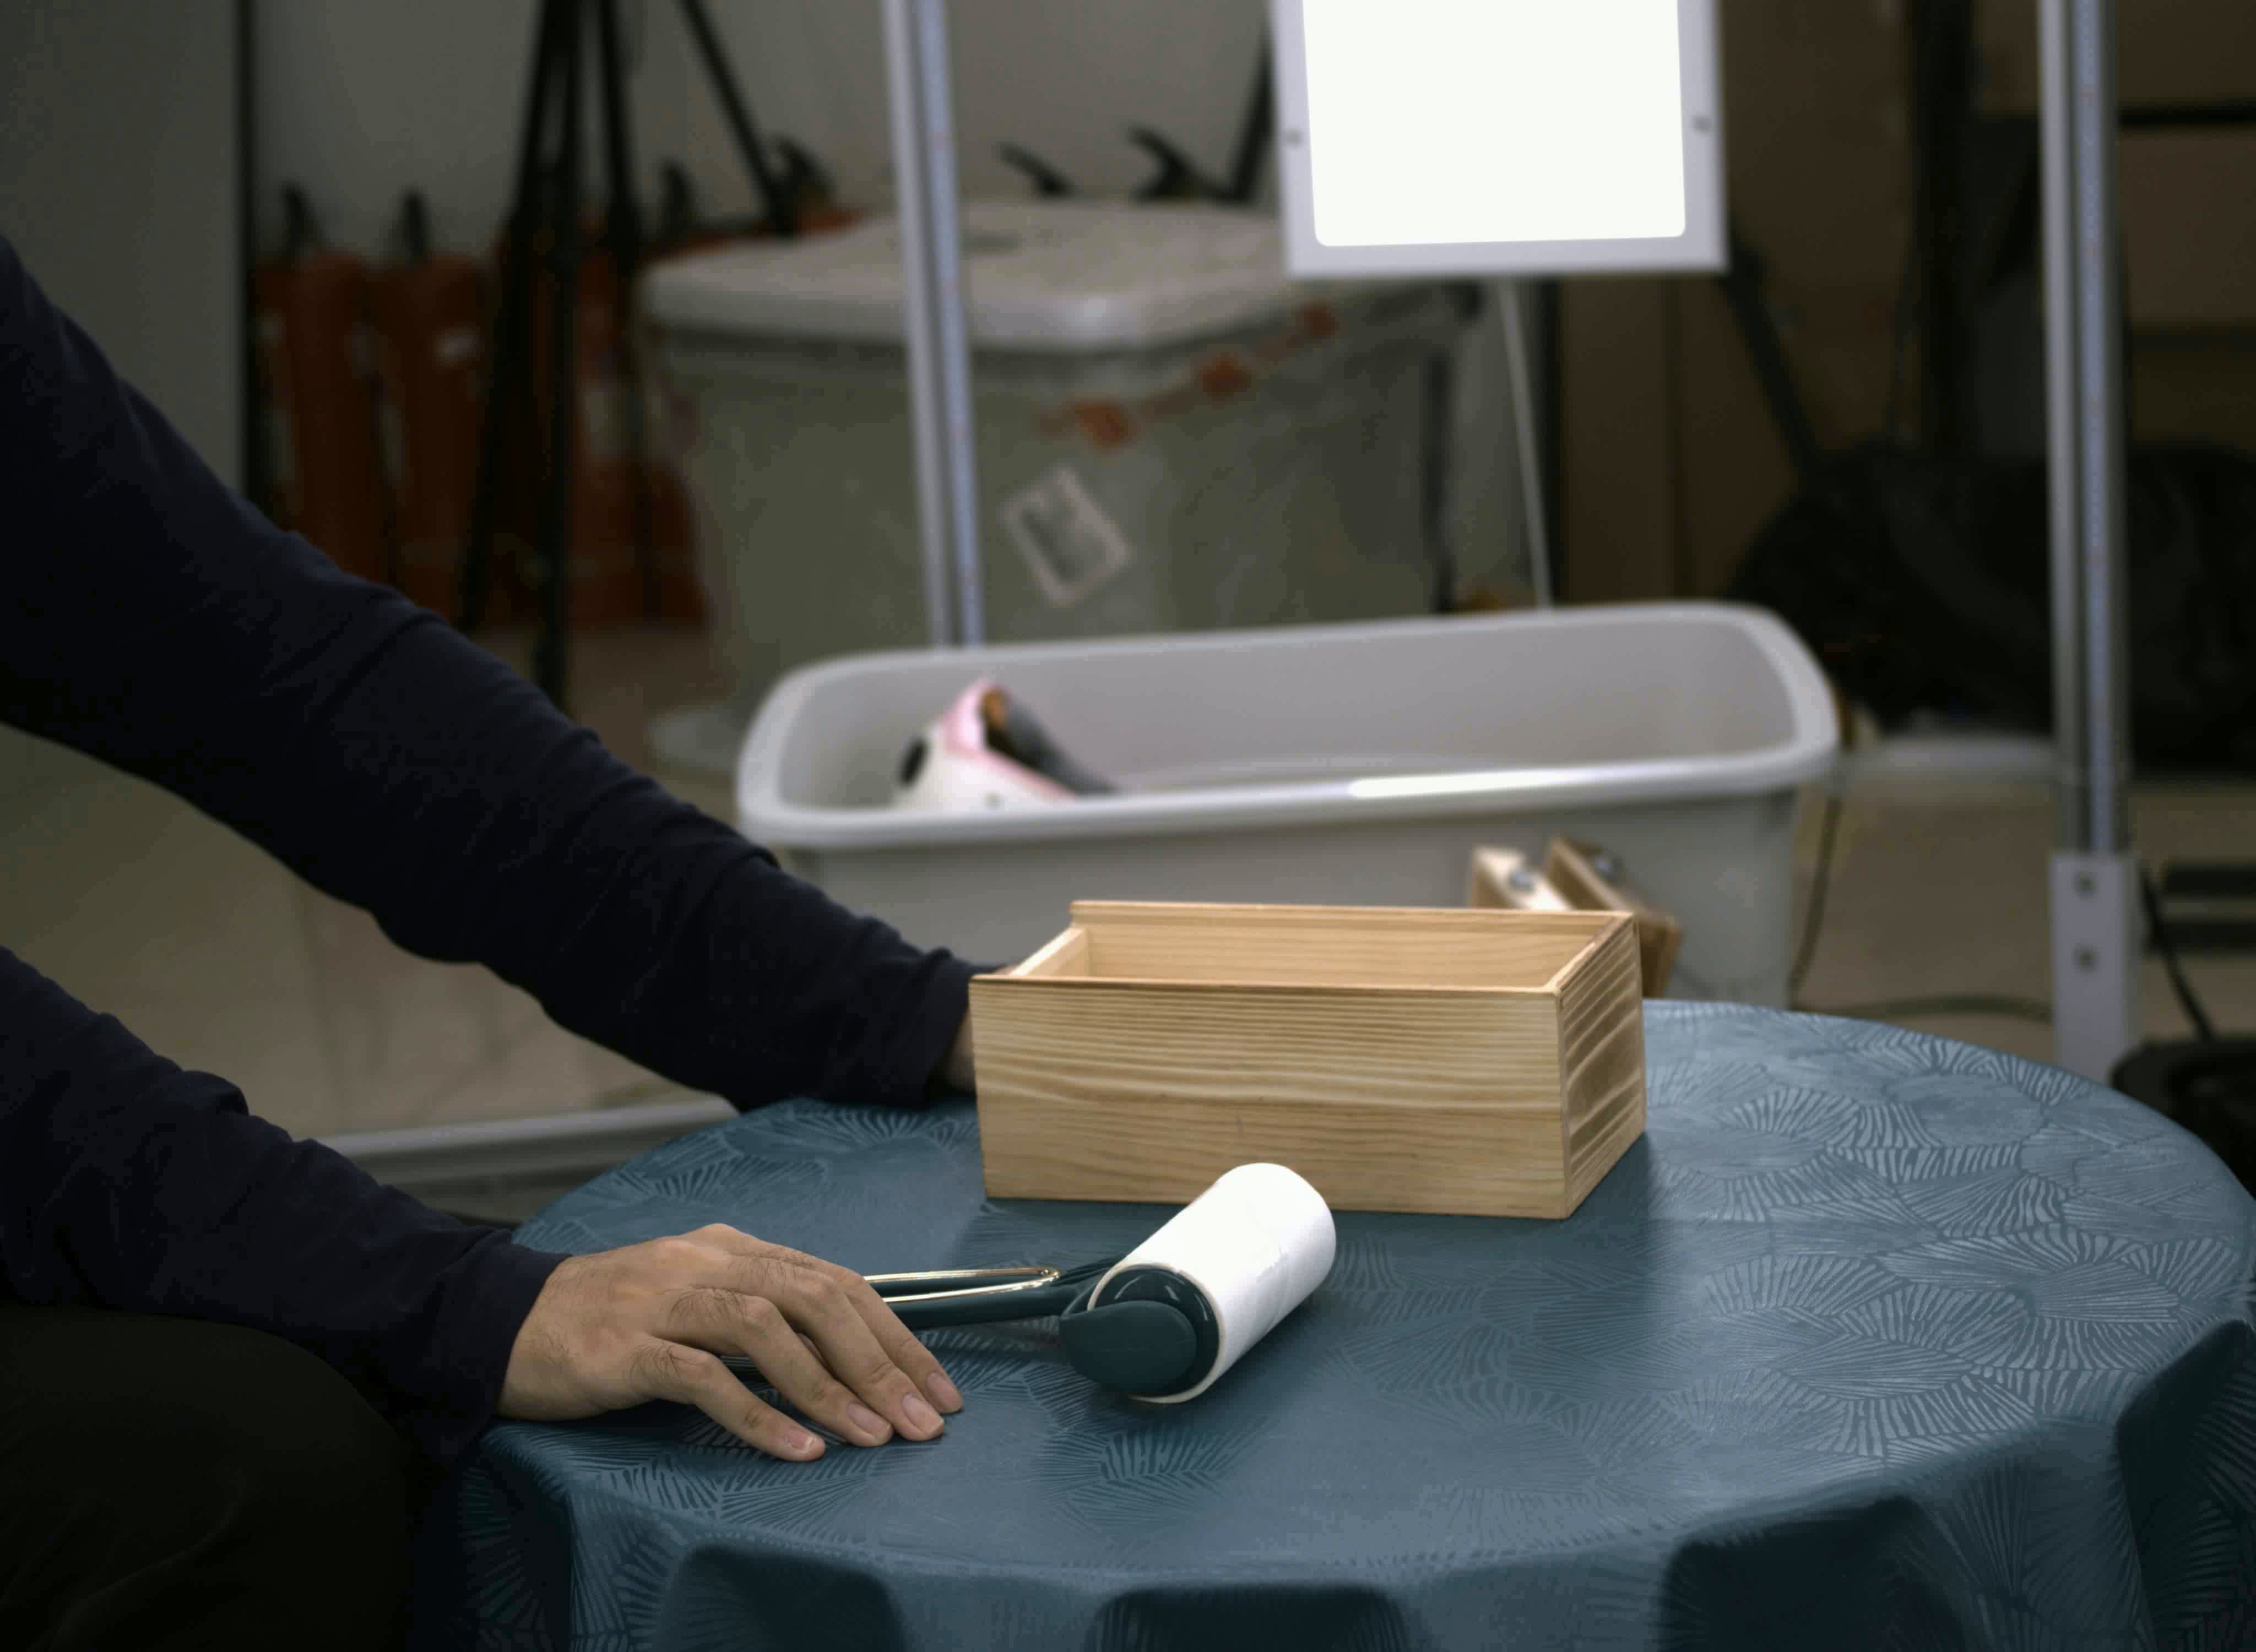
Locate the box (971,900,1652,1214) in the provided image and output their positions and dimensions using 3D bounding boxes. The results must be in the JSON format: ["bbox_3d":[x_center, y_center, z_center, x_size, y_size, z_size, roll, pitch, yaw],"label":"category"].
[{"bbox_3d":[0.065,0.079,1.906,0.214,0.080,0.105,-1,15,22],"label":"box"}]

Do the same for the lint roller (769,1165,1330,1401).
[{"bbox_3d":[-0.035,0.145,1.755,0.183,0.048,0.132,-2,13,24],"label":"lint roller"}]
